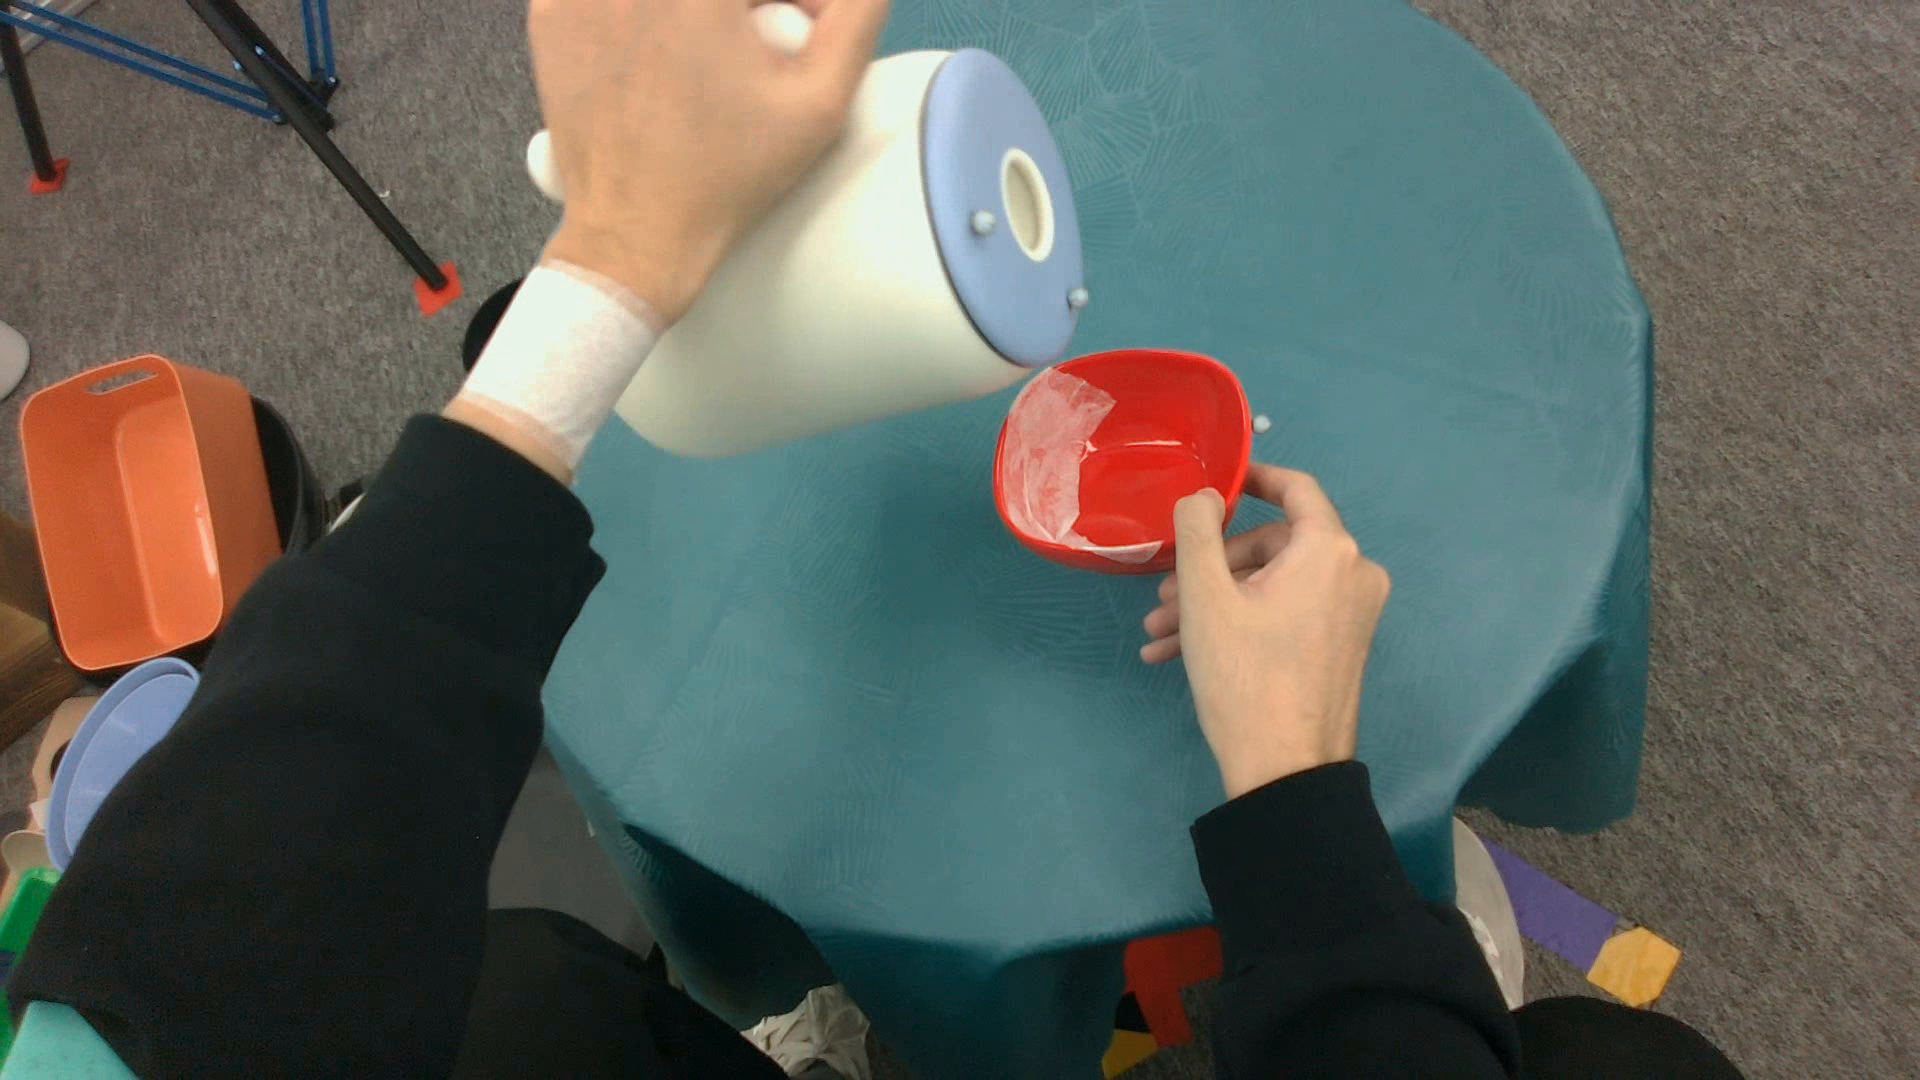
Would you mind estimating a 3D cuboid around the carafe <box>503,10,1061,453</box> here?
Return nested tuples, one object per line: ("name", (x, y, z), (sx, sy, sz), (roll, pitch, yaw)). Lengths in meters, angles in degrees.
("carafe", (-0.077, -0.126, 0.537), (0.182, 0.191, 0.133), (-16, 57, 32))

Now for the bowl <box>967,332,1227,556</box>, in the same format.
("bowl", (0.062, -0.034, 0.602), (0.119, 0.051, 0.119), (-7, 51, 9))
